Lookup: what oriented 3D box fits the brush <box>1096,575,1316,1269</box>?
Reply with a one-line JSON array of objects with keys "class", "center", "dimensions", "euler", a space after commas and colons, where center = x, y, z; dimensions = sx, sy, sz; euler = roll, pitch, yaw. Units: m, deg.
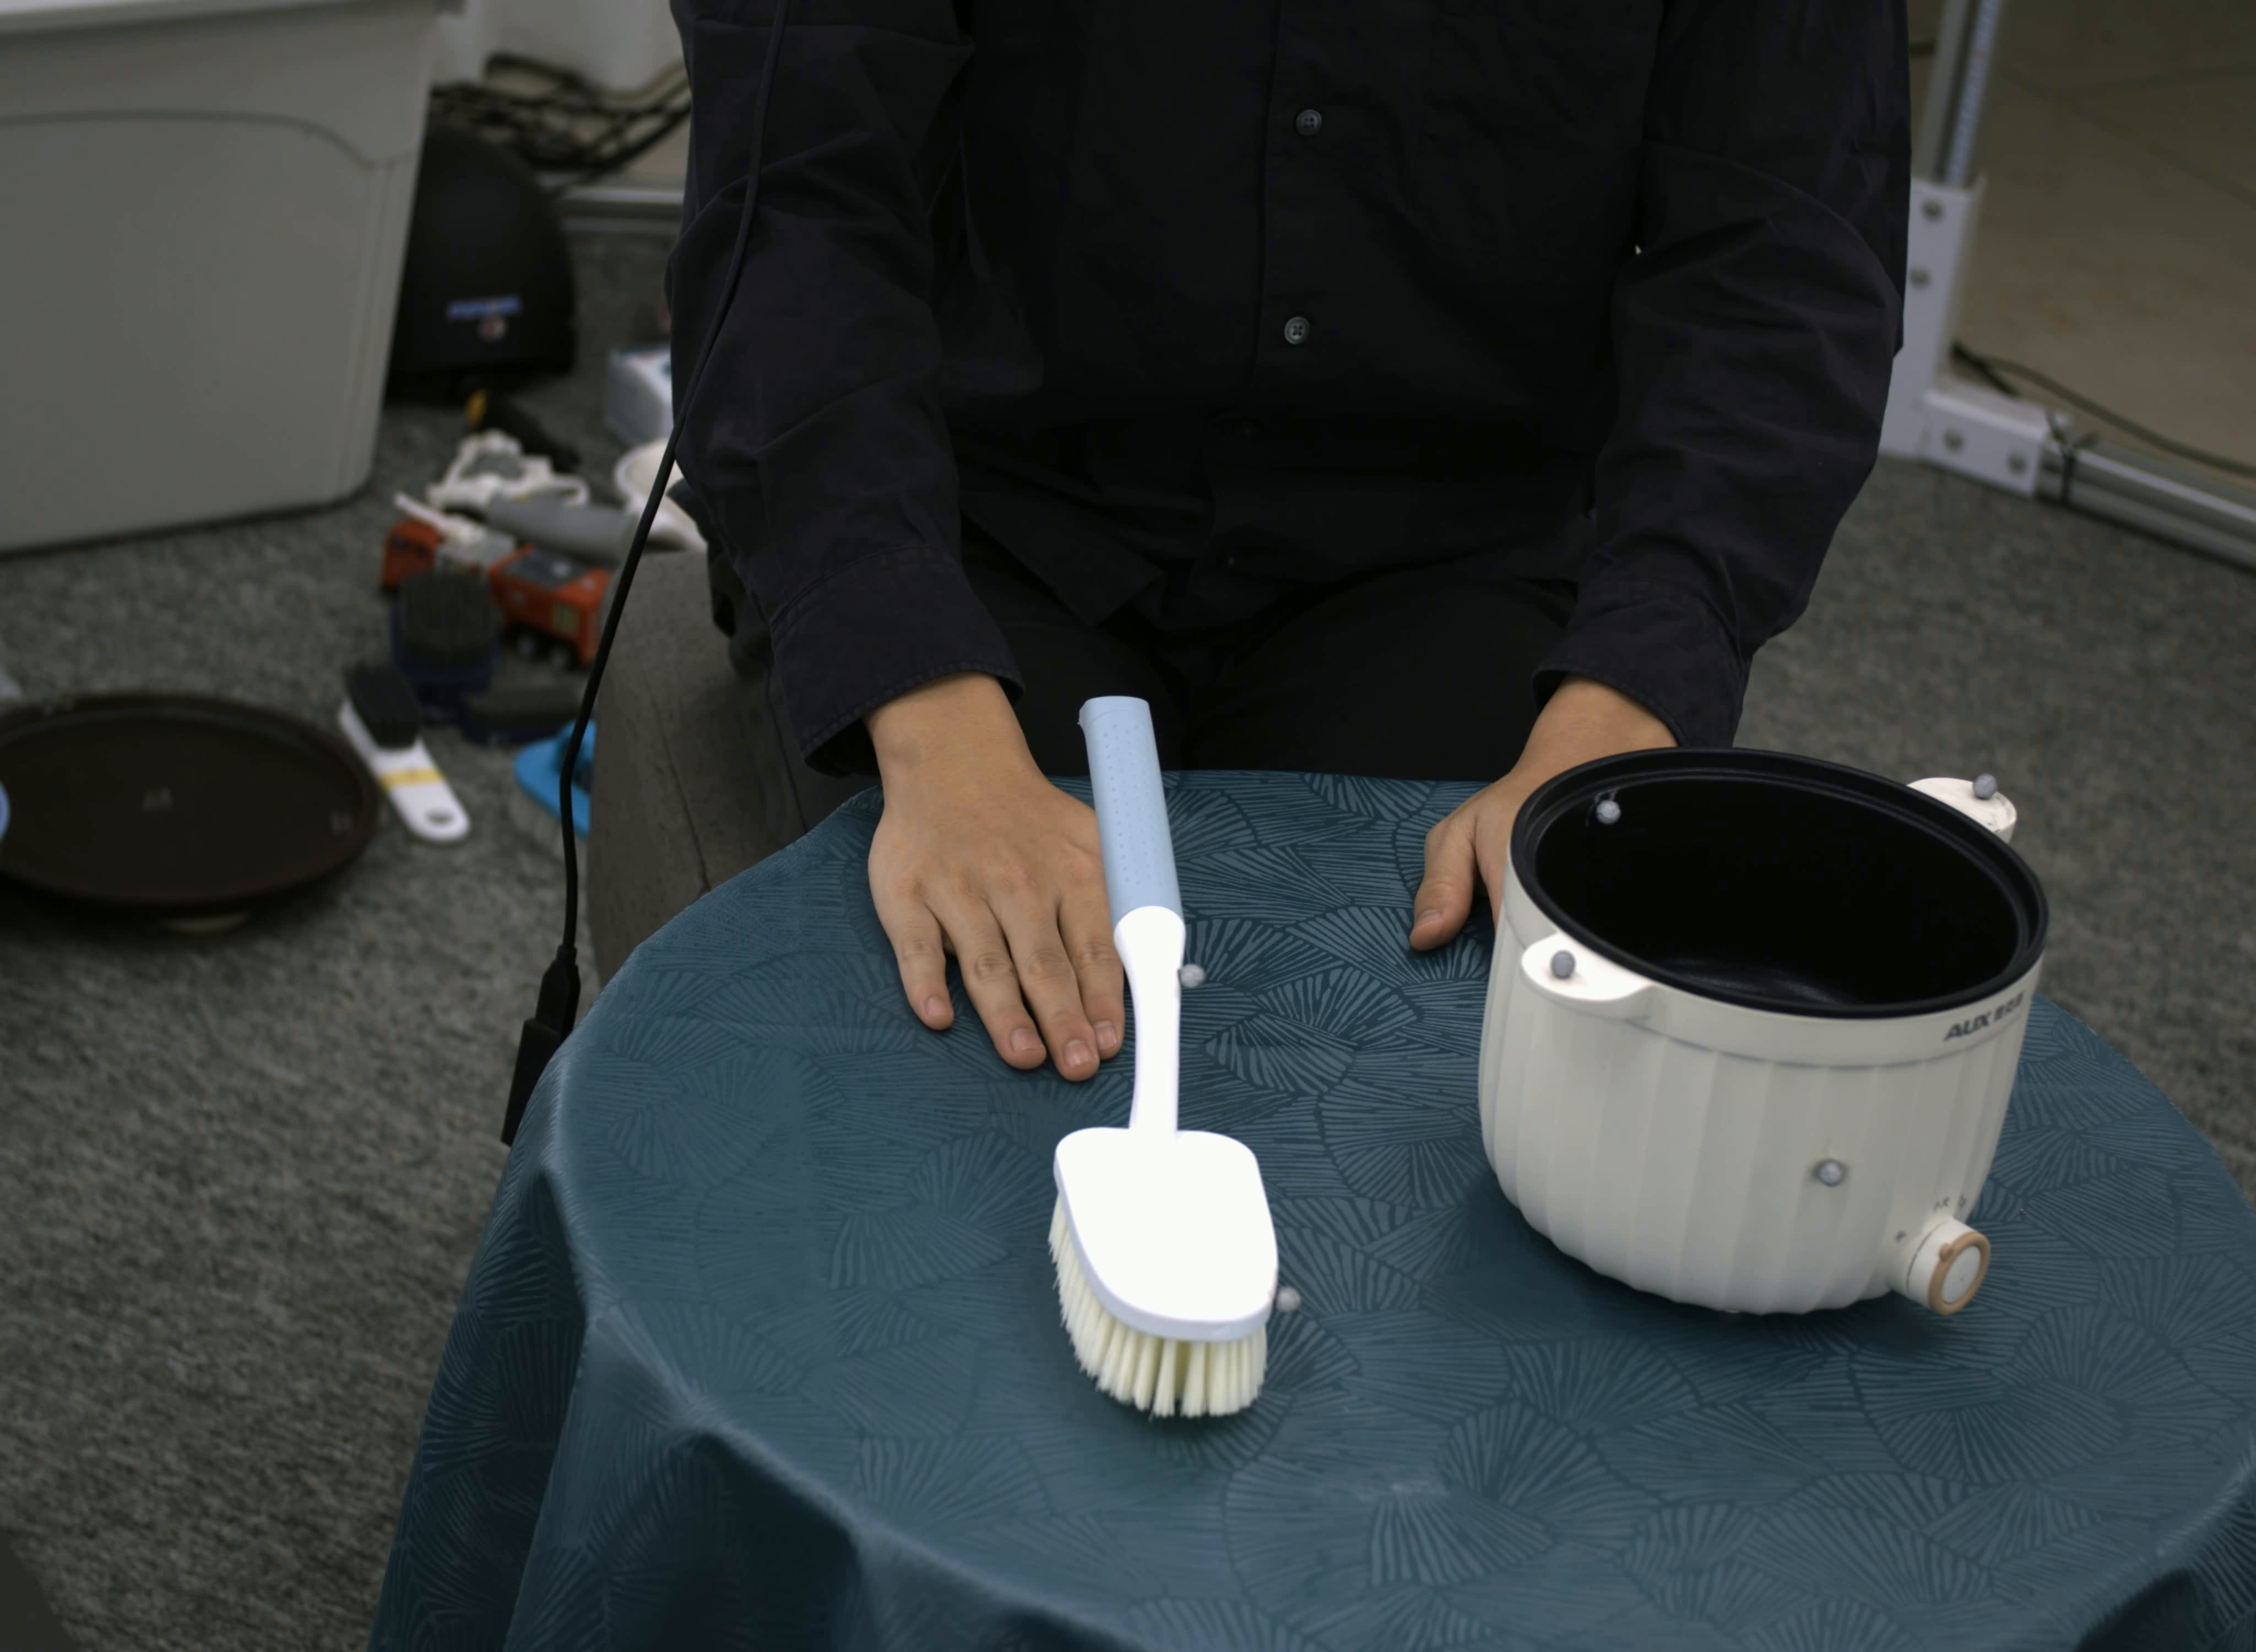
[{"class": "brush", "center": [0.023, 0.041, 1.821], "dimensions": [0.082, 0.084, 0.328], "euler": [34, 28, -29]}]

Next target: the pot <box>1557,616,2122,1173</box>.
[{"class": "pot", "center": [0.242, 0.030, 1.819], "dimensions": [0.192, 0.142, 0.239], "euler": [26, 34, 37]}]
